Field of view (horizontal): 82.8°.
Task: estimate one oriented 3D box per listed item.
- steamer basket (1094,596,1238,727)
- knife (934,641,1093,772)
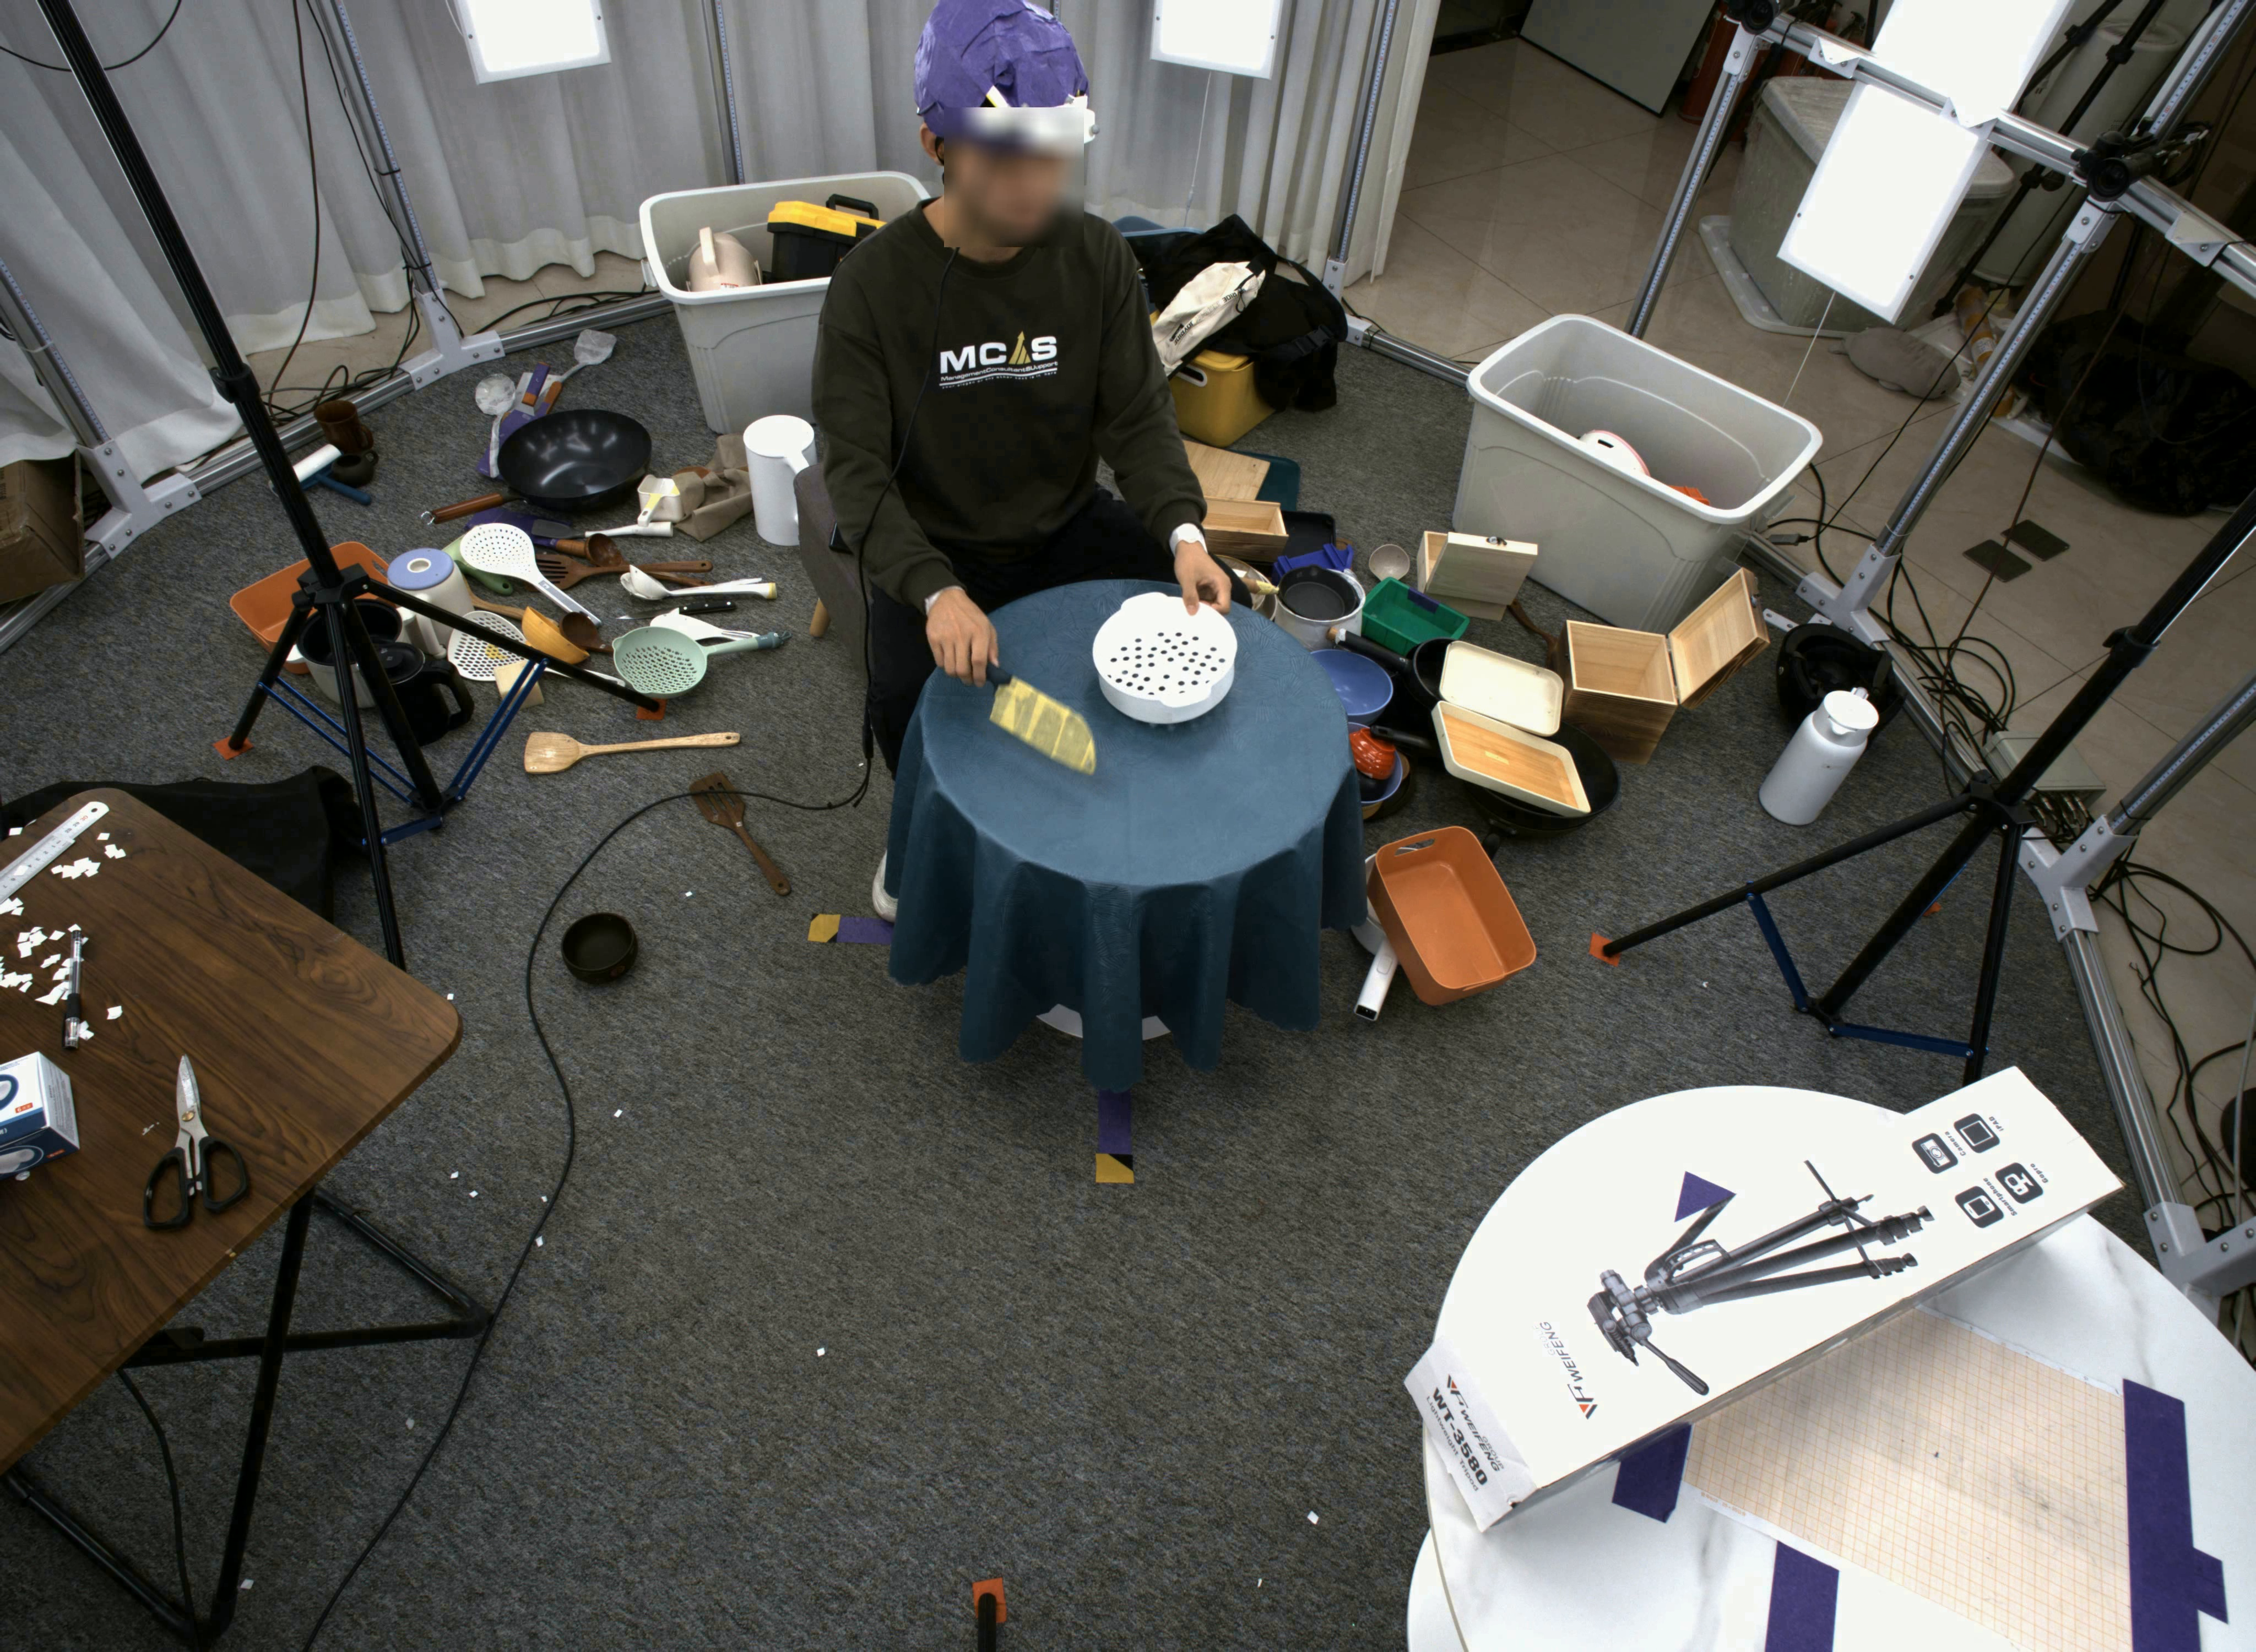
[{"bbox_3d":[0.054,-0.230,1.817,0.202,0.067,0.236,-14,51,-8],"label":"steamer basket"},{"bbox_3d":[-0.156,-0.161,1.722,0.293,0.080,0.027,37,26,21],"label":"knife"}]
